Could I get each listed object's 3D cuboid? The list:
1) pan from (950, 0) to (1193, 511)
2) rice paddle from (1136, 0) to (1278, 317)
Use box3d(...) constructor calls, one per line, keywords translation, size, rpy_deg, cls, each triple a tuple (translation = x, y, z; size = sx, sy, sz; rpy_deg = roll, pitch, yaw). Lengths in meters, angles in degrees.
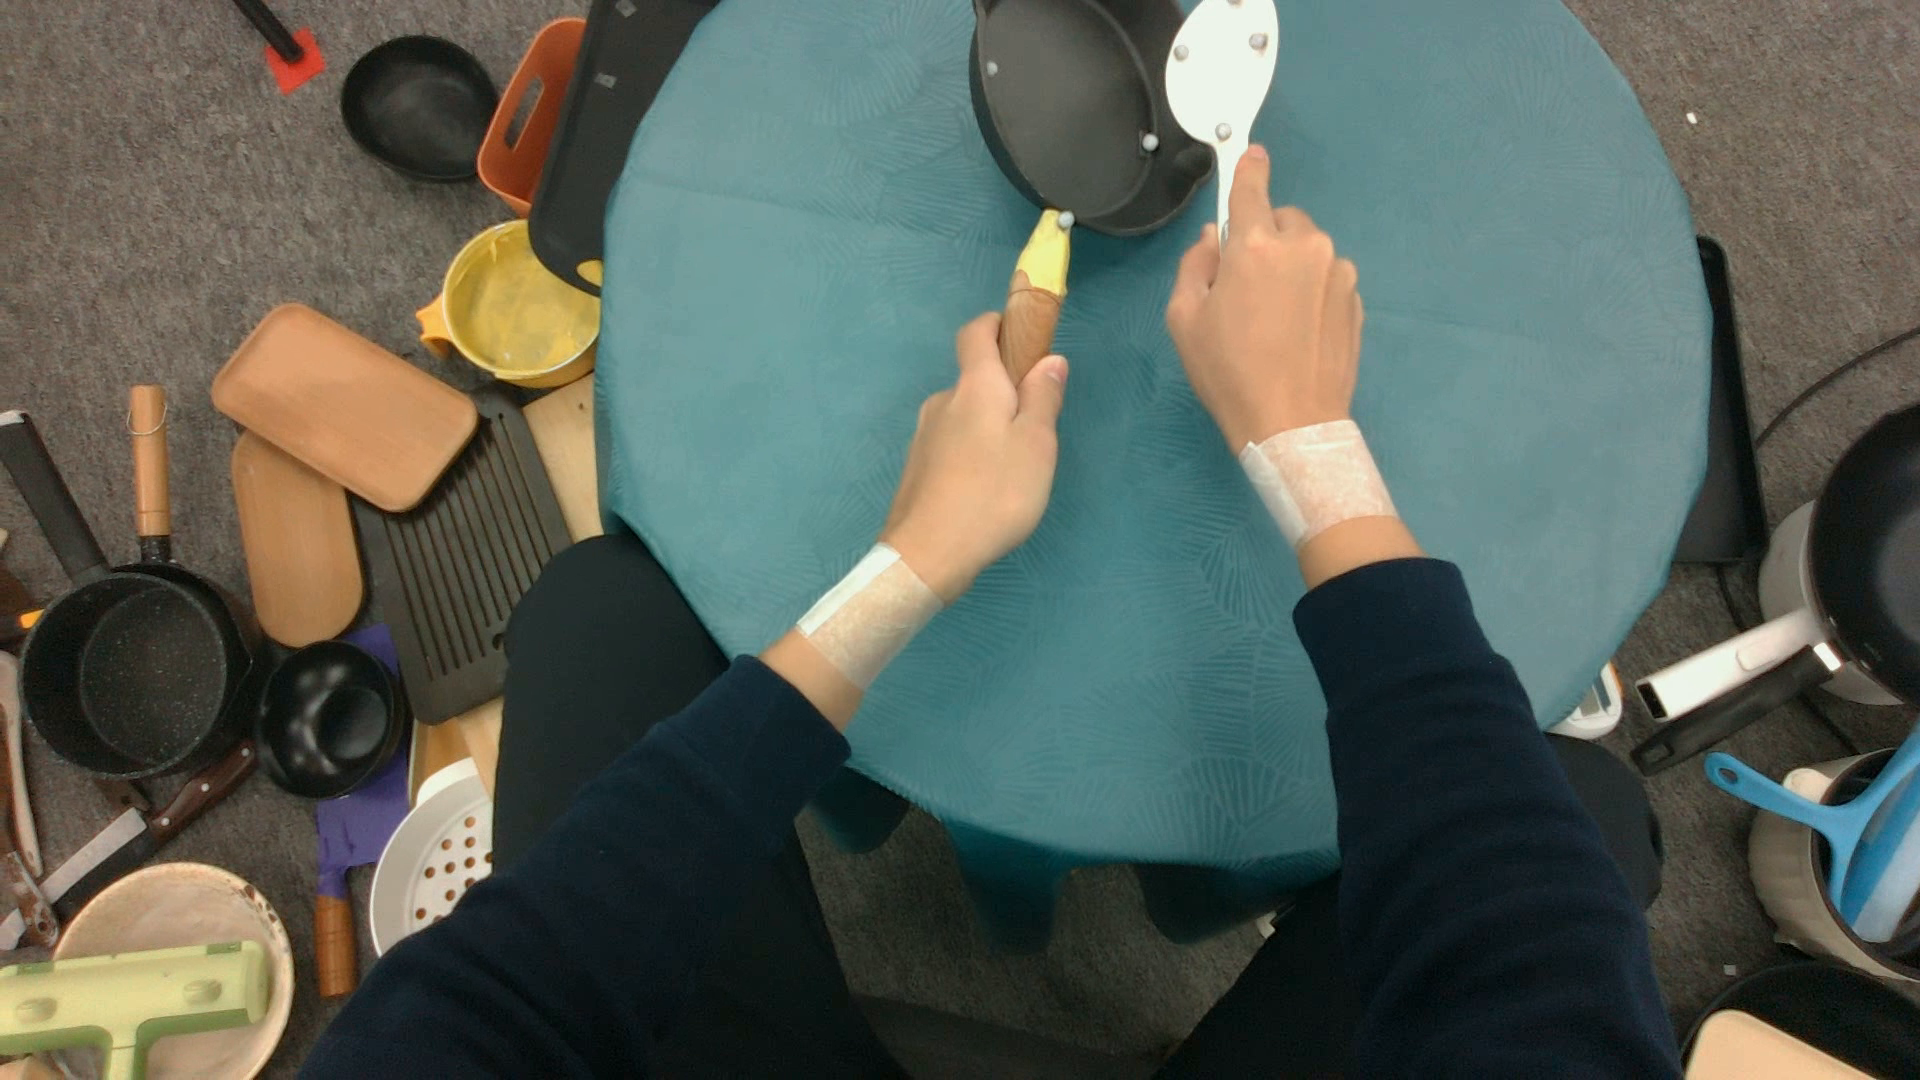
box3d(translation=(0.035, -0.163, 0.686), size=(0.169, 0.049, 0.325), rpy_deg=(29, 68, -31), cls="pan")
box3d(translation=(0.124, -0.207, 0.692), size=(0.068, 0.029, 0.206), rpy_deg=(-26, 59, 38), cls="rice paddle")
